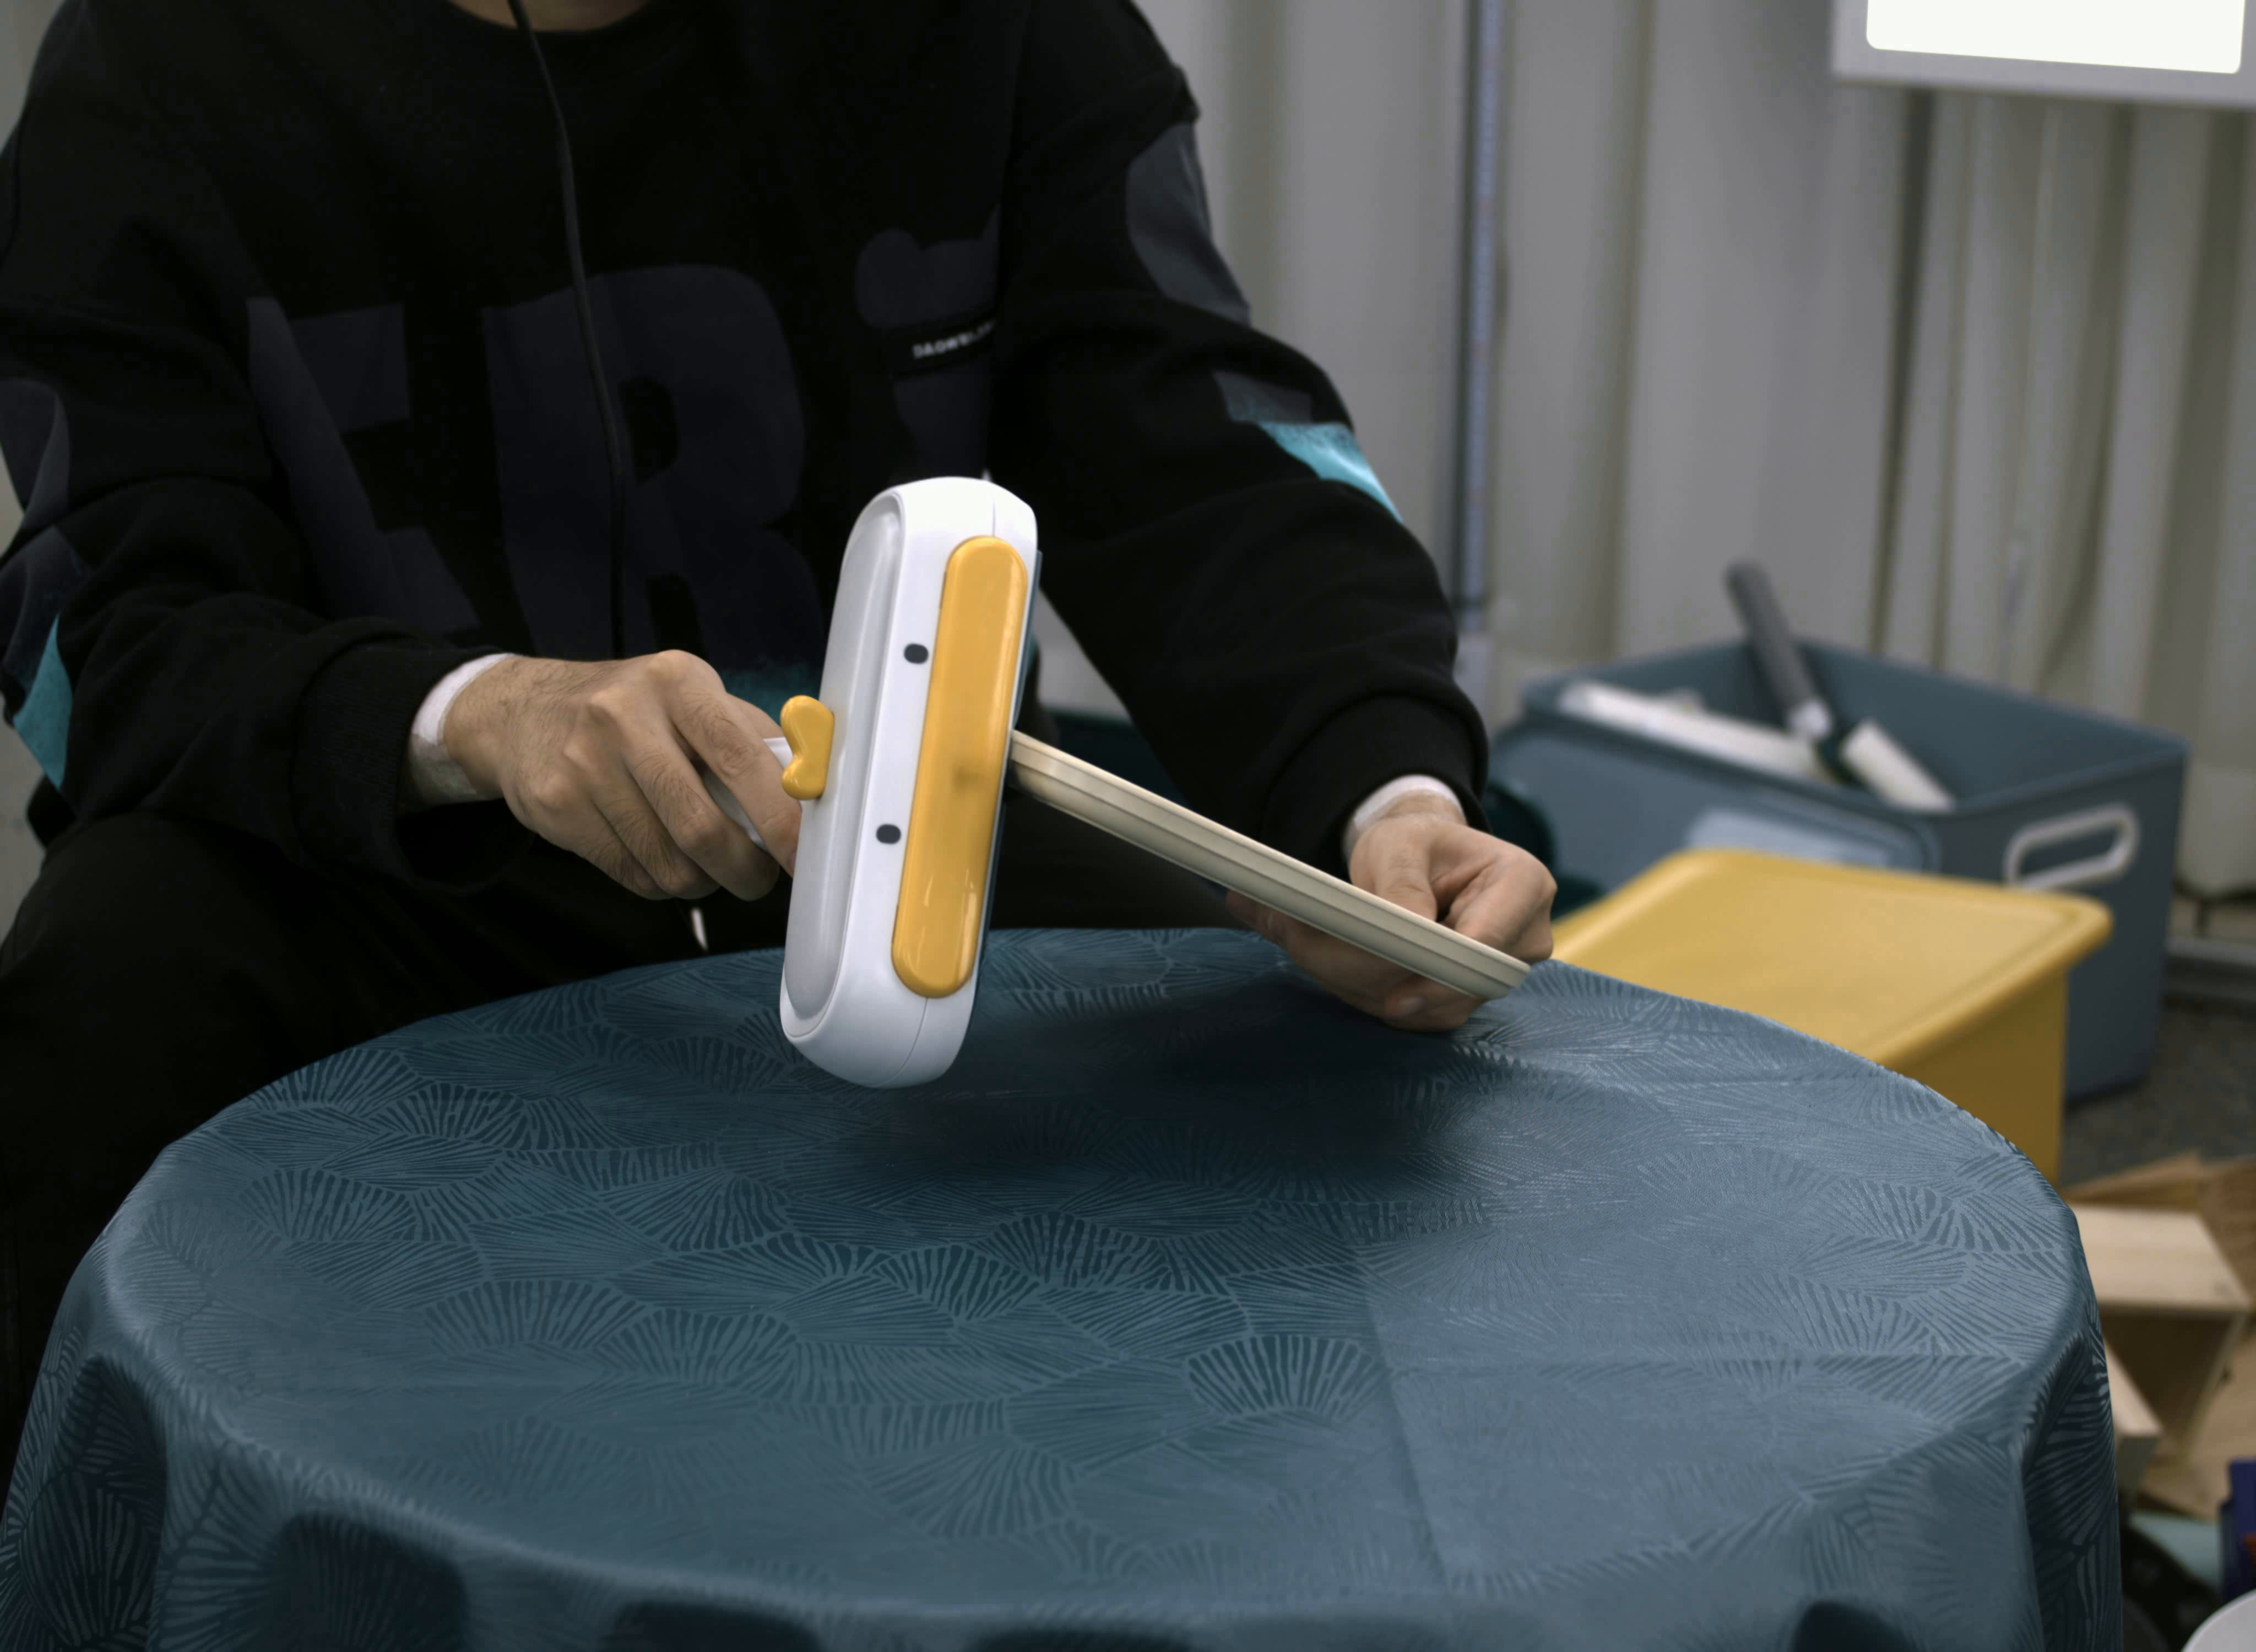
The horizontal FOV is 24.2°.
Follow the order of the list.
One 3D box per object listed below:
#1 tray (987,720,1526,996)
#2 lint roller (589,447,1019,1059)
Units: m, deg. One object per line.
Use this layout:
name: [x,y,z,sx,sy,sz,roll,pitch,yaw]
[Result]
tray: [0.025,0.007,1.692,0.172,0.017,0.238,25,0,-14]
lint roller: [-0.104,-0.013,1.673,0.075,0.192,0.191,9,-16,-31]
